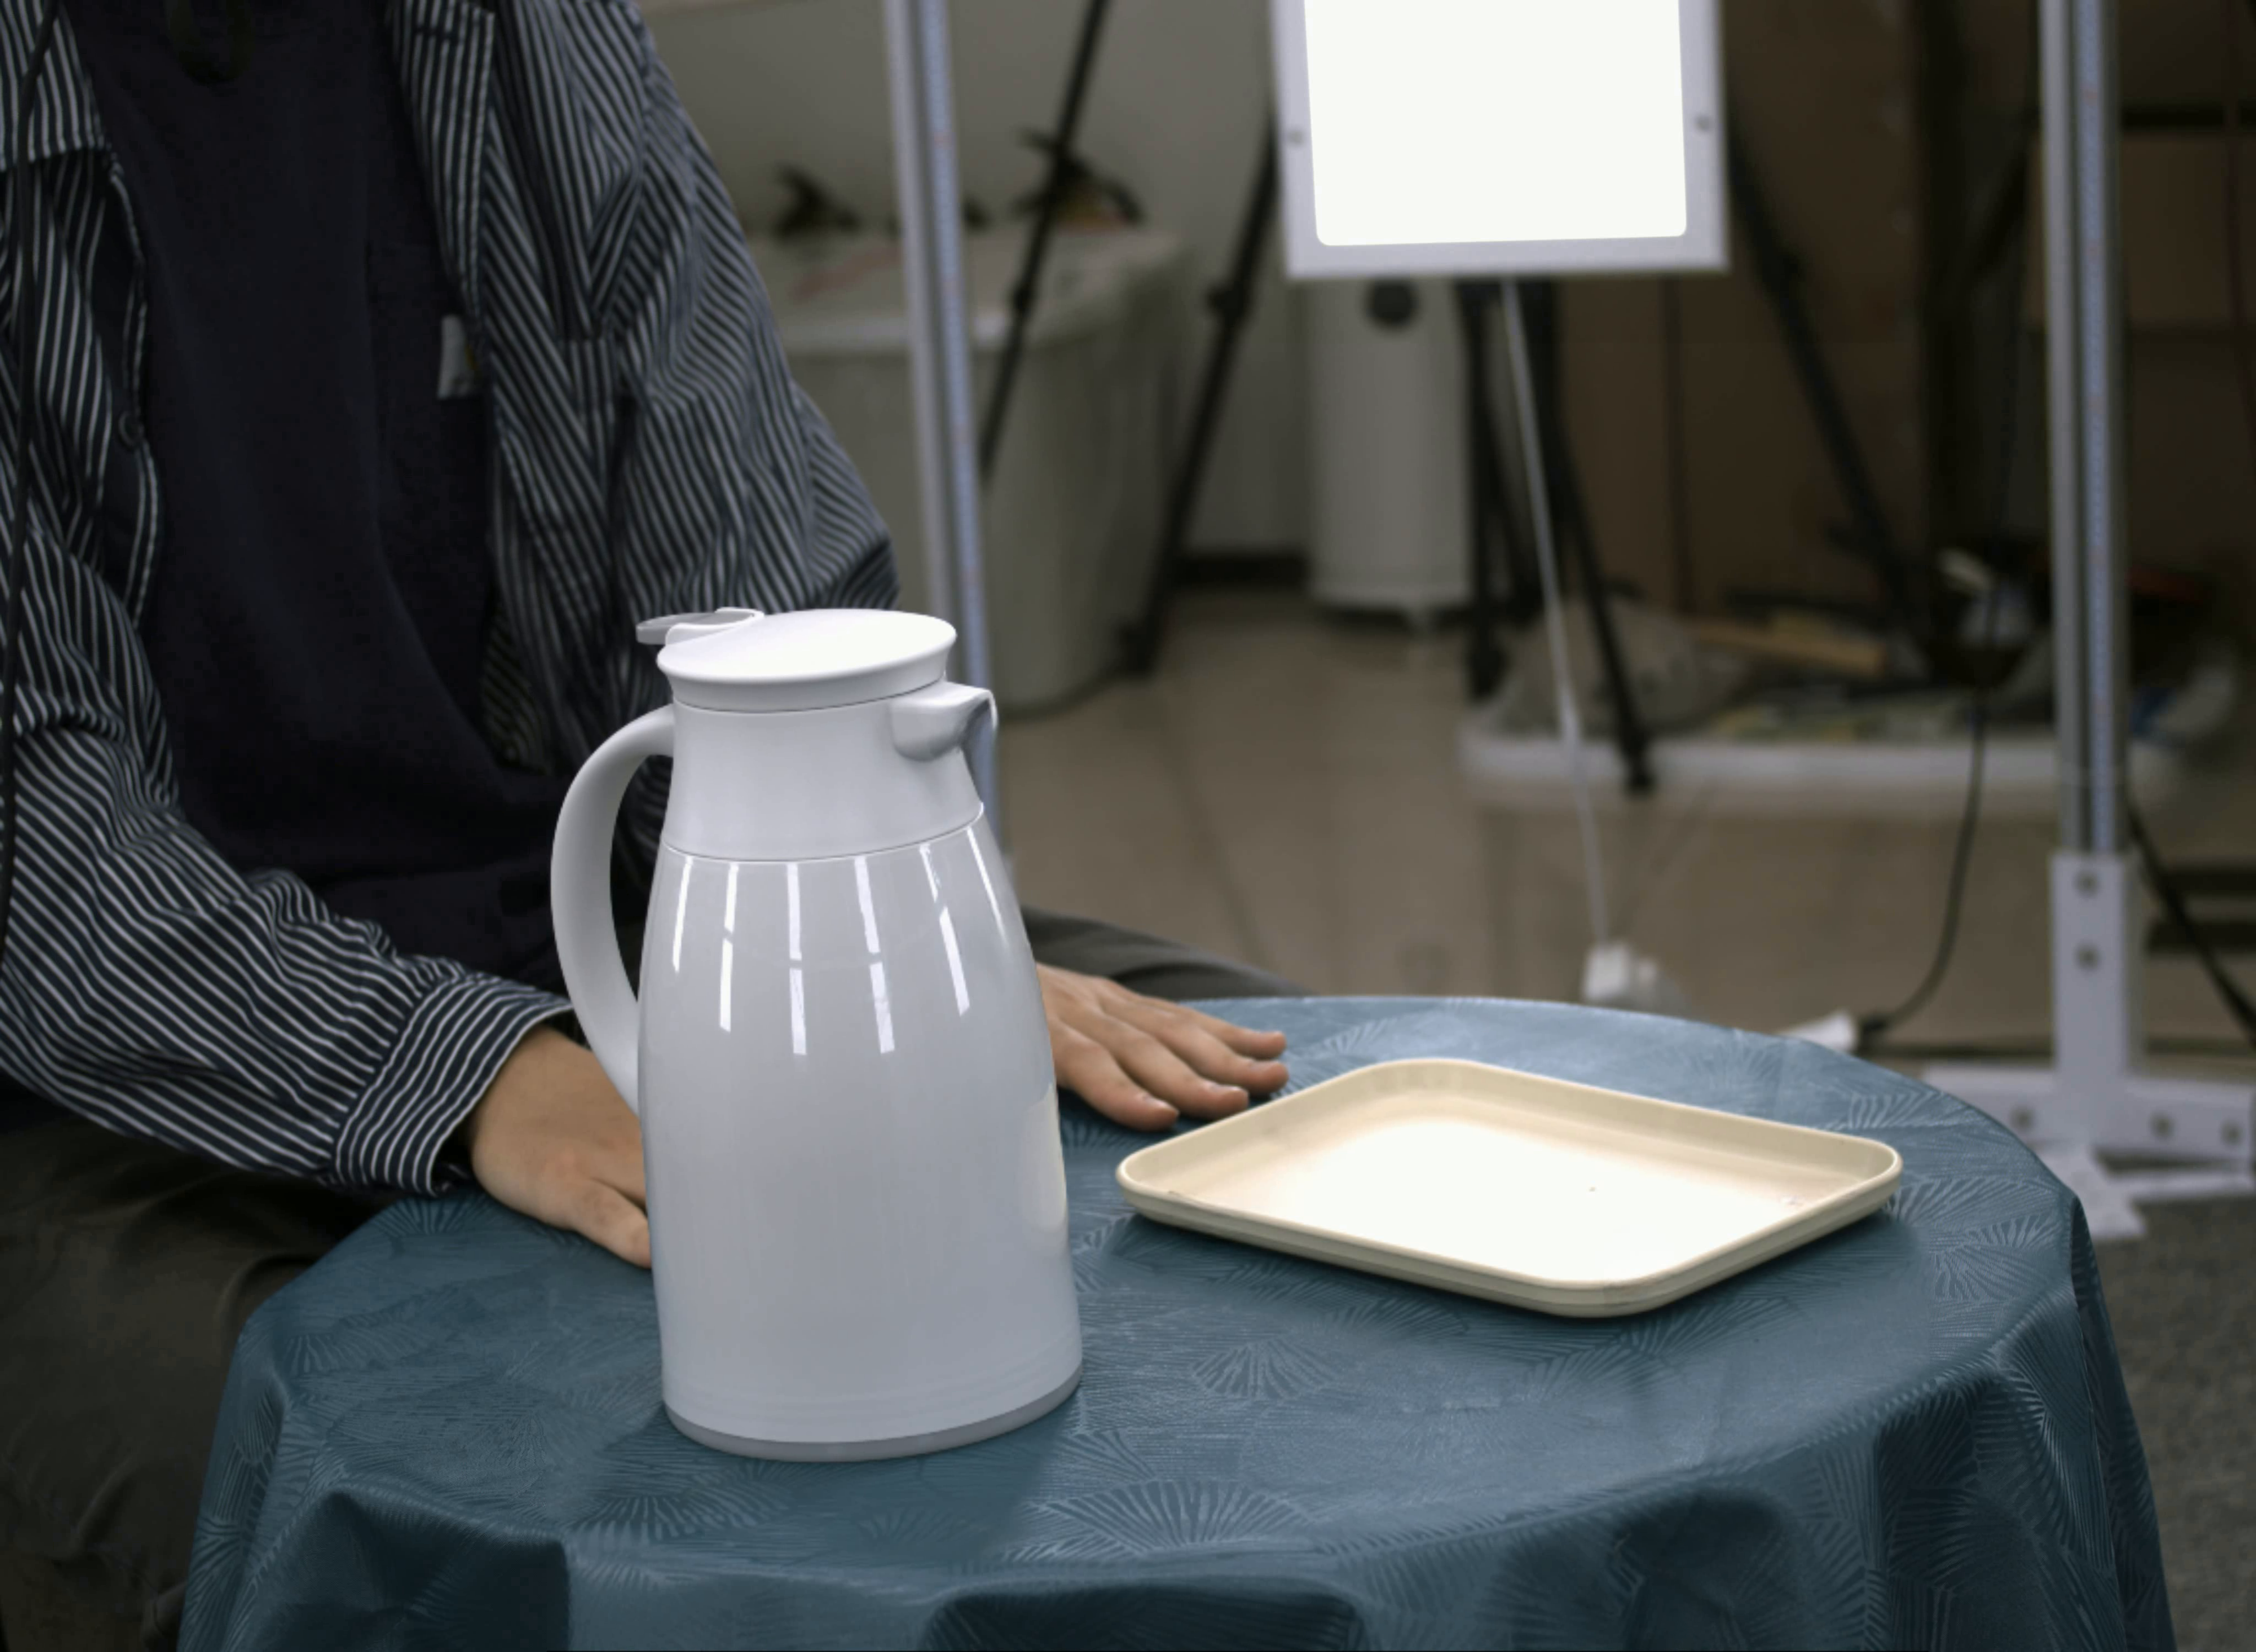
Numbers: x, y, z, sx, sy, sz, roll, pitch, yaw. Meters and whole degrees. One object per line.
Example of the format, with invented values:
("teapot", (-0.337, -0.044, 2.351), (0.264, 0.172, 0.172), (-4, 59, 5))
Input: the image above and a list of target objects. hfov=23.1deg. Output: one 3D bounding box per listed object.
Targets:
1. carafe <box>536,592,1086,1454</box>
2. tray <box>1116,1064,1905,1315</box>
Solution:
("carafe", (-0.106, 0.053, 1.700), (0.171, 0.249, 0.129), (2, 16, 30))
("tray", (0.127, 0.120, 1.835), (0.167, 0.017, 0.245), (-17, 17, -41))
